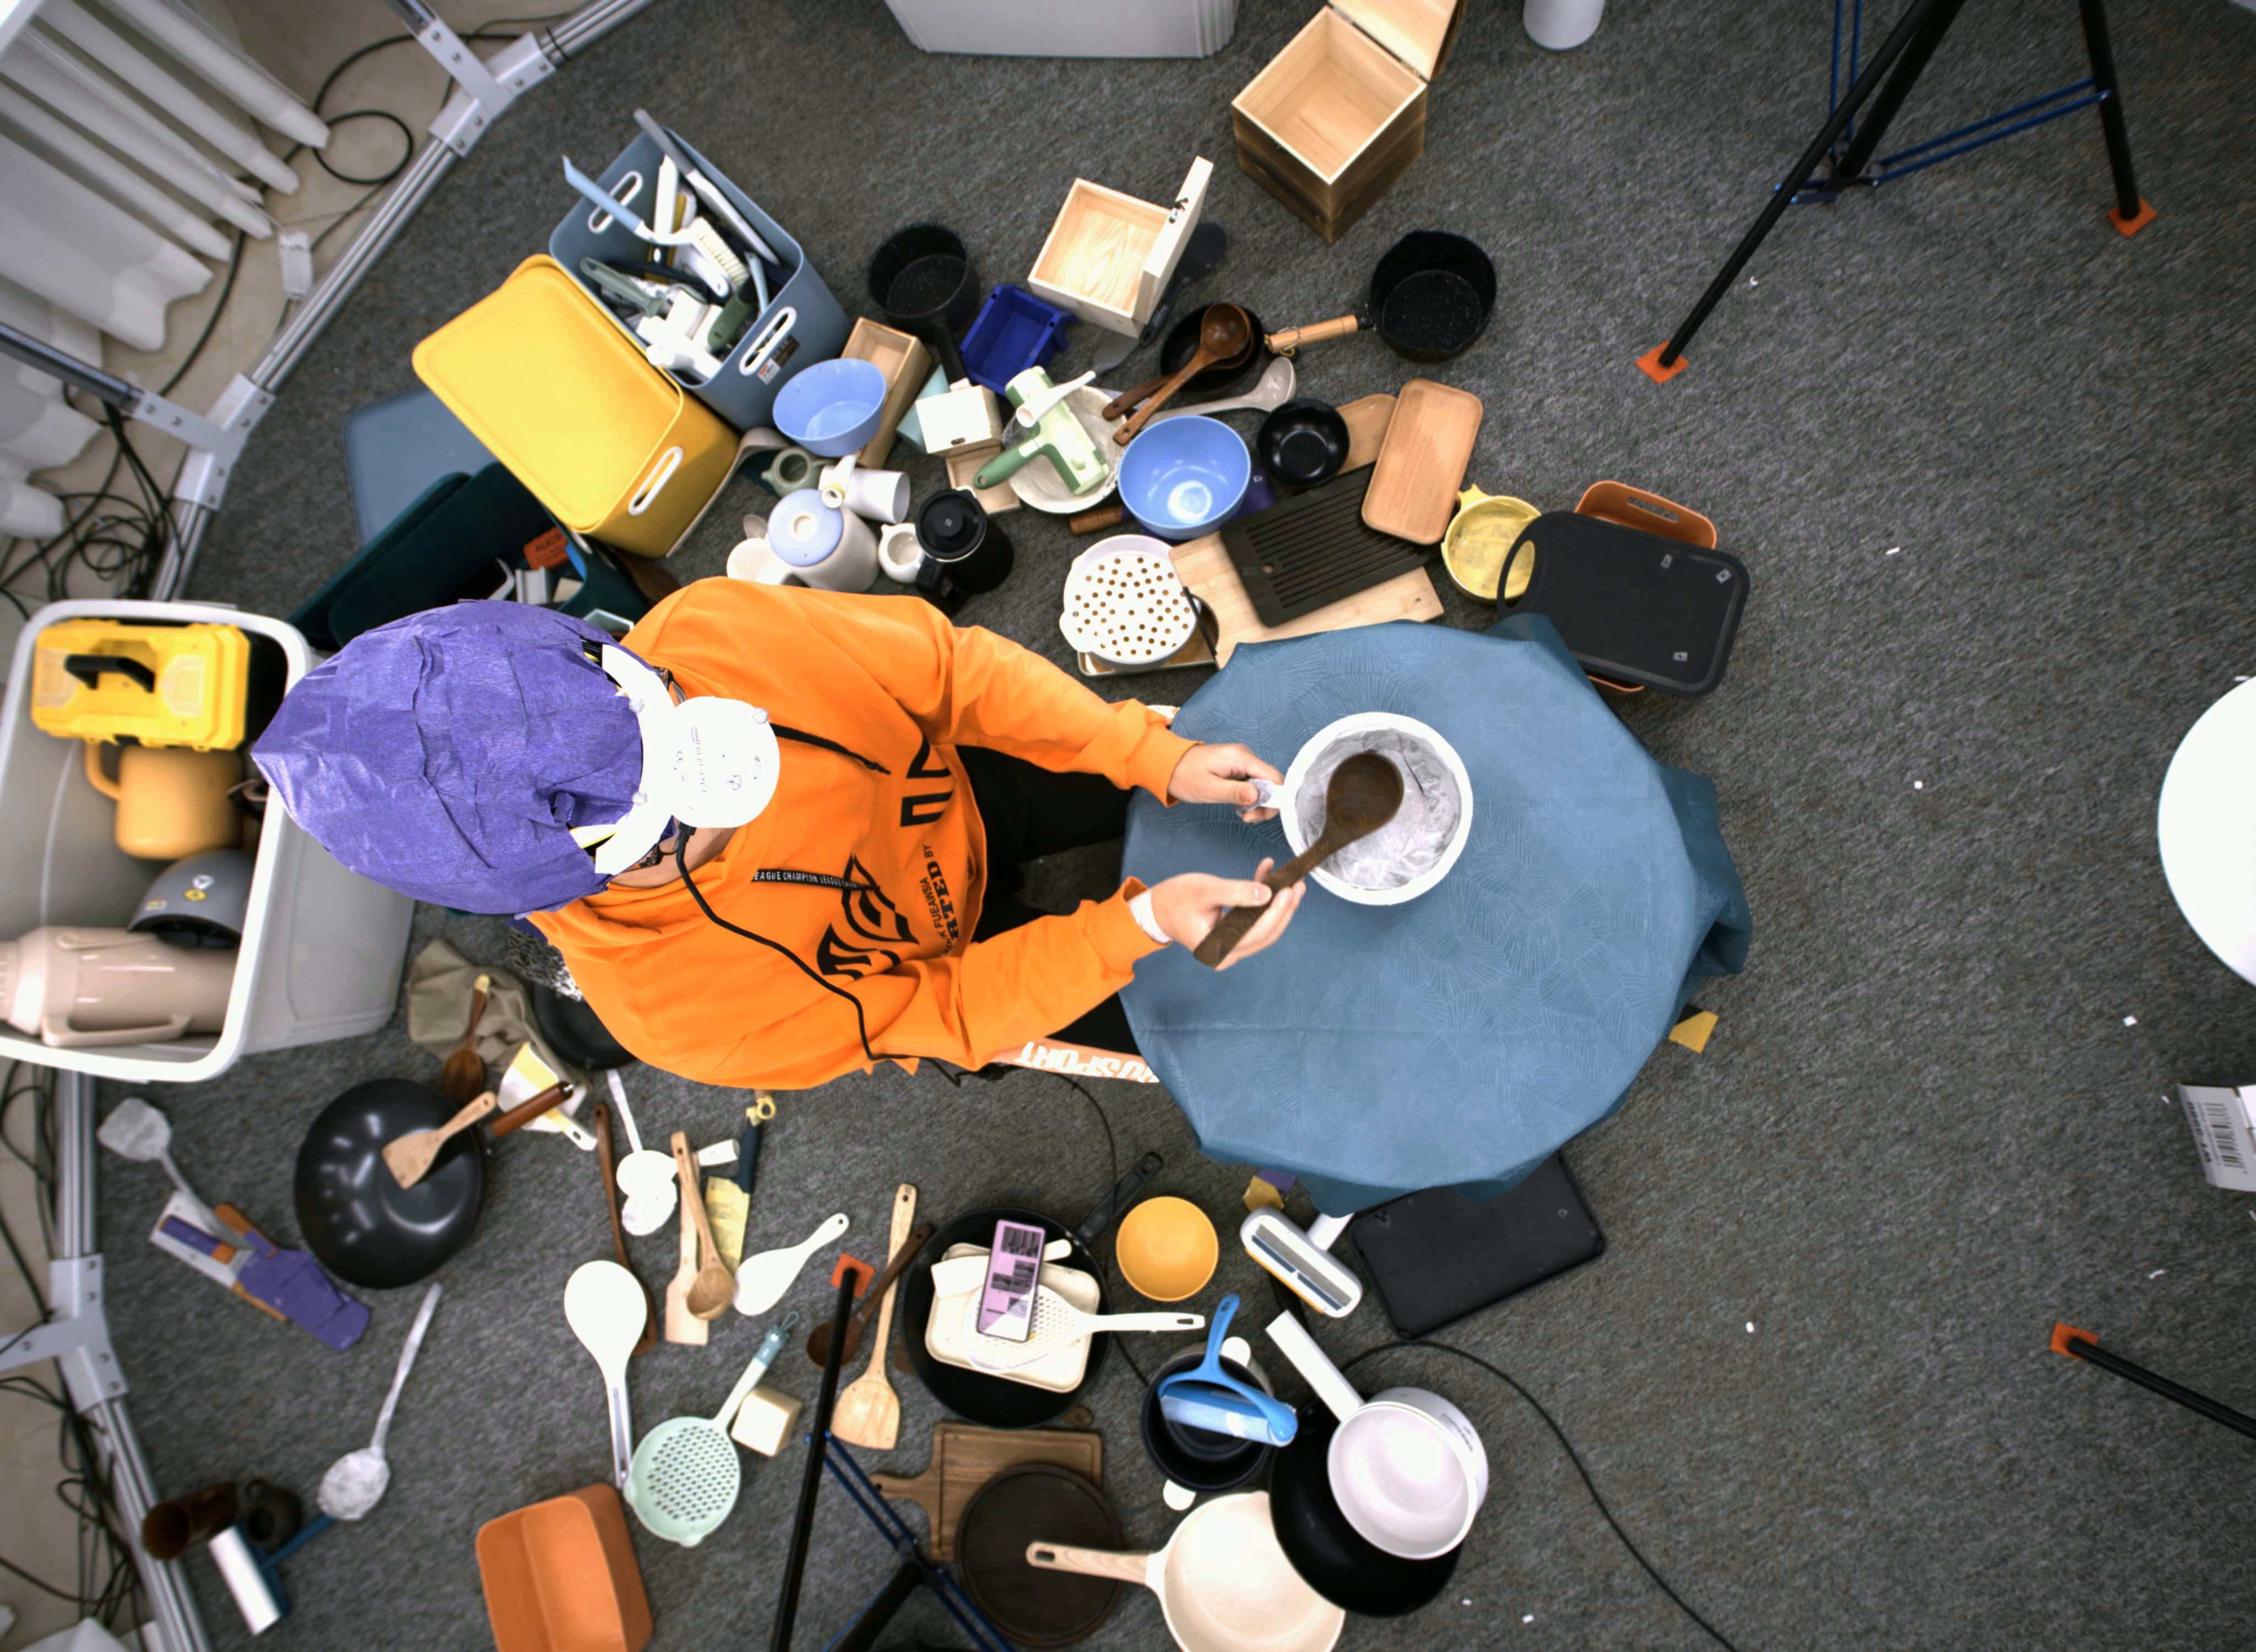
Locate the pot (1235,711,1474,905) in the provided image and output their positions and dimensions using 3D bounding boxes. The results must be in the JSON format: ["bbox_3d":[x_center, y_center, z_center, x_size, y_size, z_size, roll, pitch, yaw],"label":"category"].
[{"bbox_3d":[0.217,-0.017,1.352,0.234,0.137,0.178,6,87,12],"label":"pot"}]

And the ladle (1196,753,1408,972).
[{"bbox_3d":[0.154,0.026,1.237,0.075,0.073,0.269,28,52,34],"label":"ladle"}]
